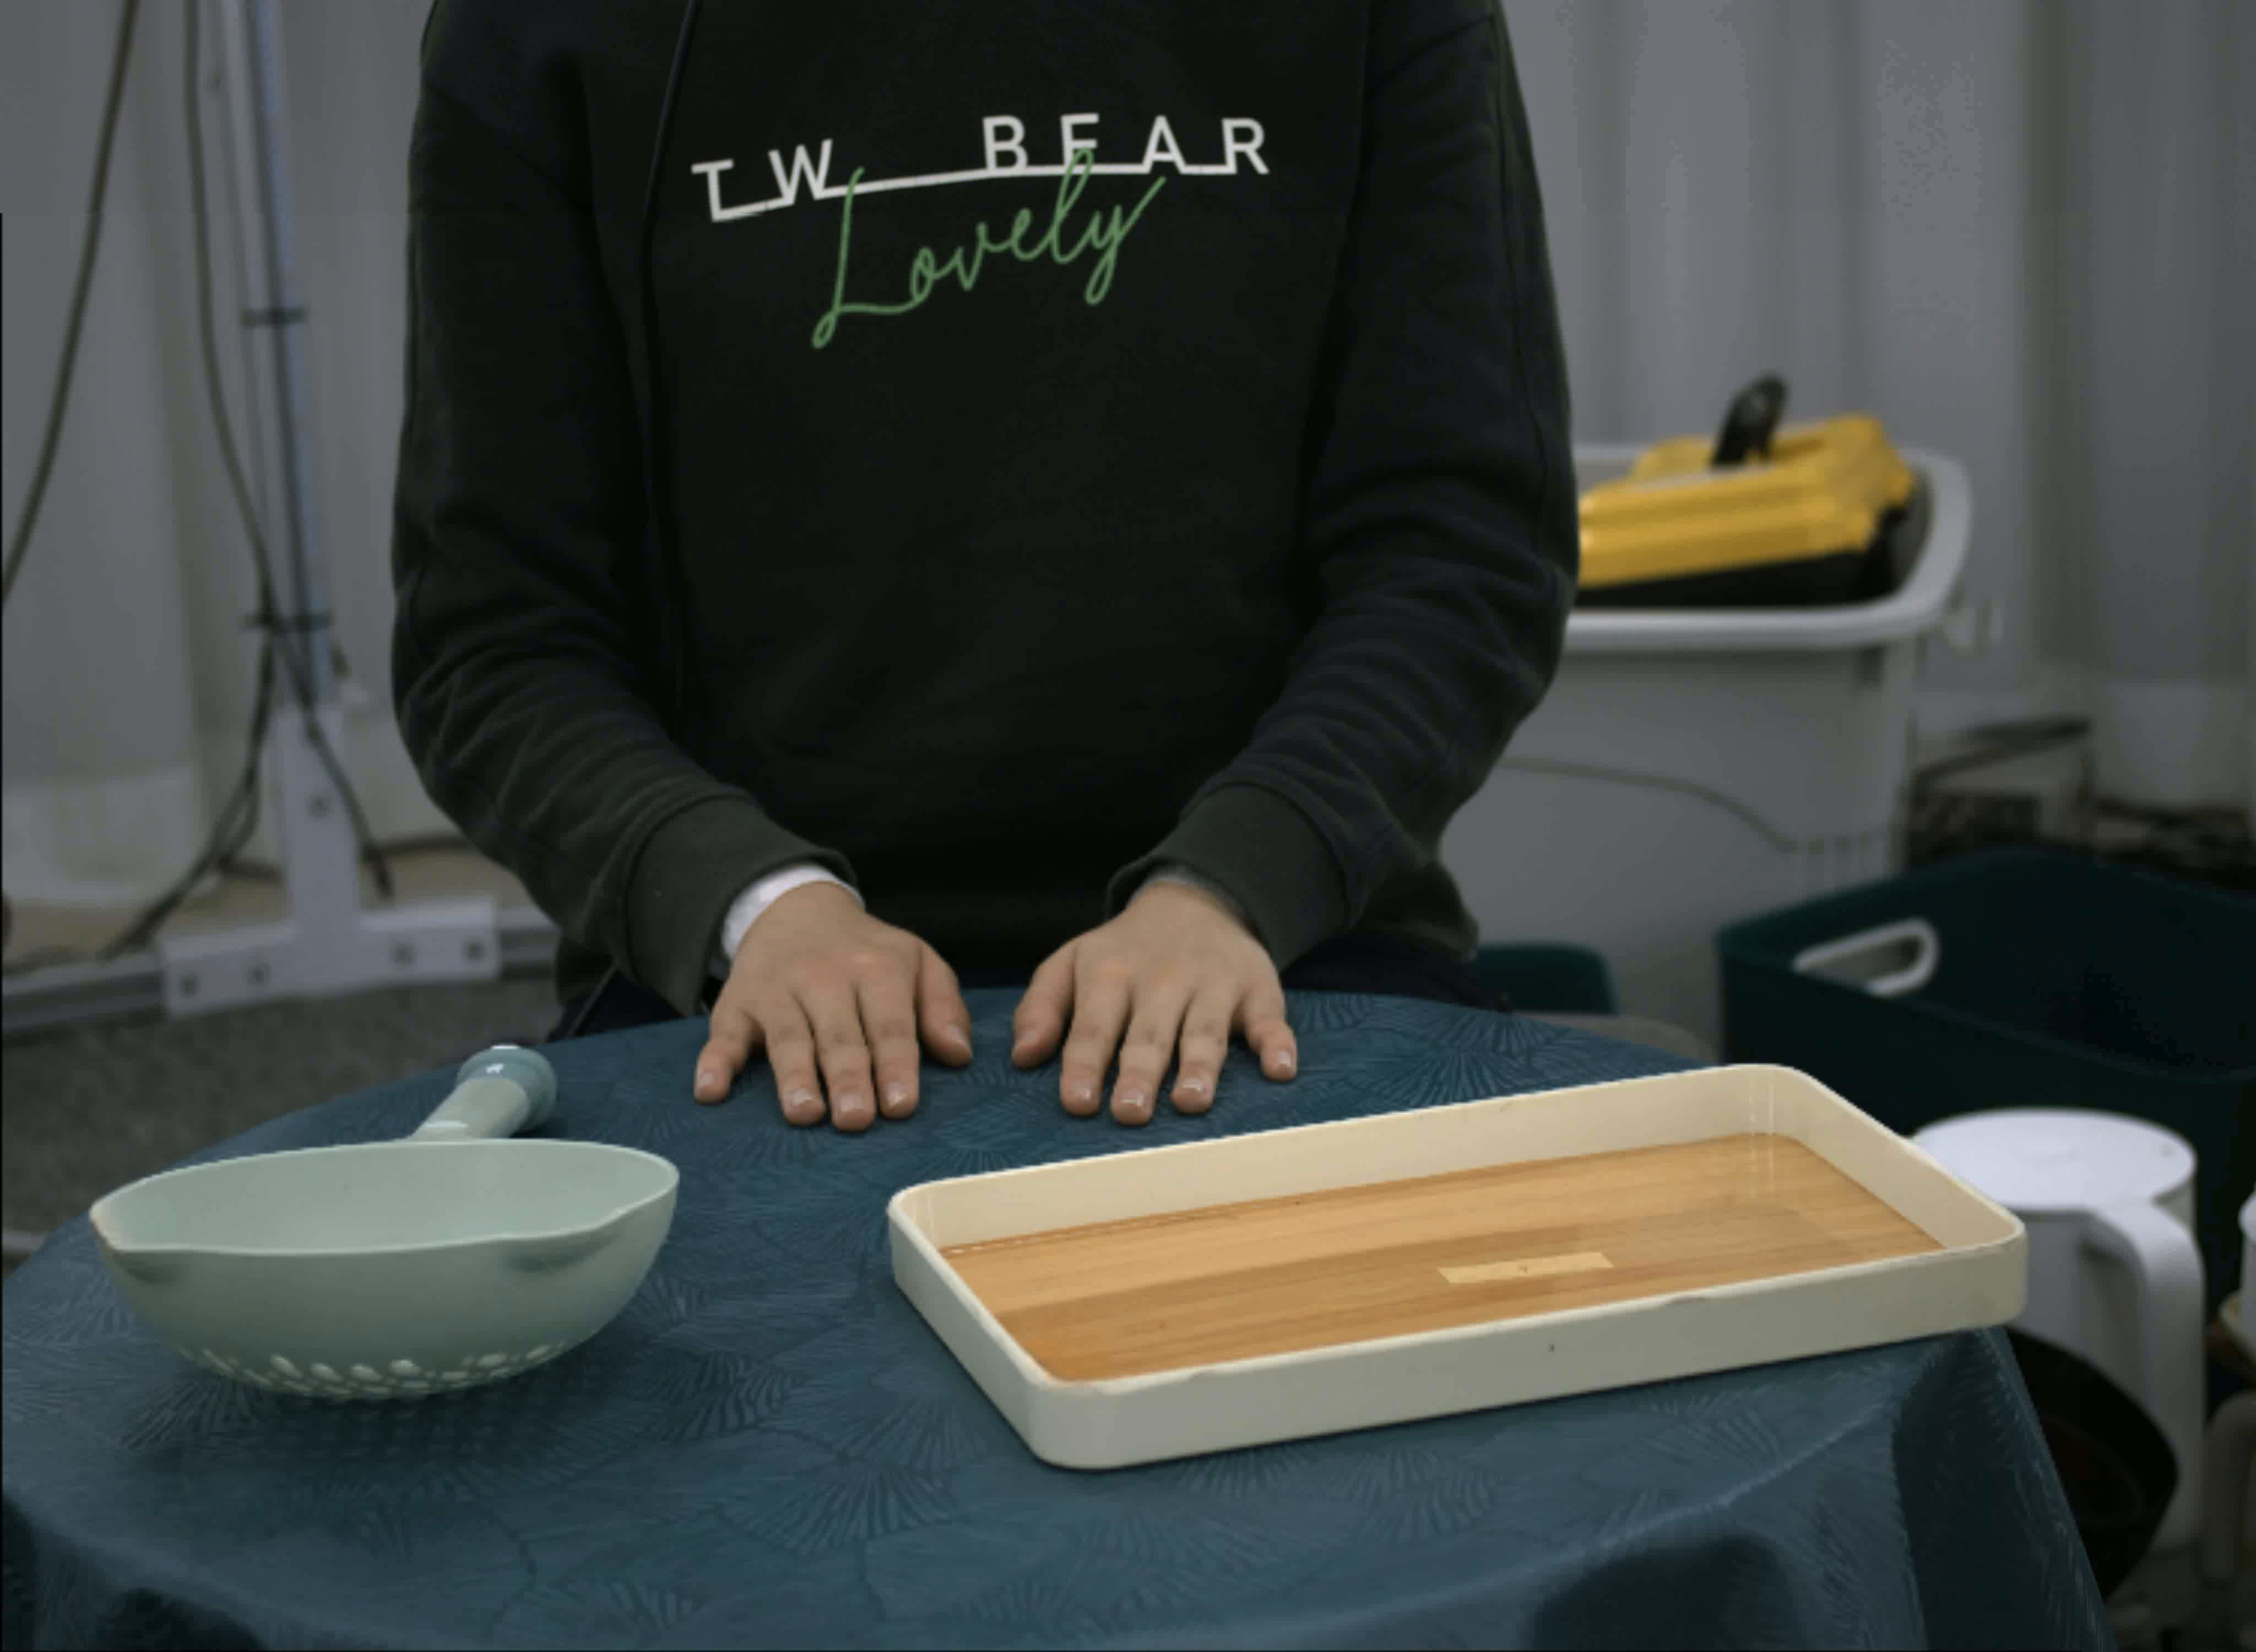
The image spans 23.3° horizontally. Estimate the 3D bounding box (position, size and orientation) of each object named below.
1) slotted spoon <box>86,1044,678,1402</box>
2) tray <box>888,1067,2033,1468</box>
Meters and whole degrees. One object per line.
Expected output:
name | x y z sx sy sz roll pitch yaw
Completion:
slotted spoon | -0.208 0.105 1.665 0.169 0.075 0.361 -2 15 2
tray | 0.094 0.126 1.604 0.299 0.027 0.193 -7 15 -15
